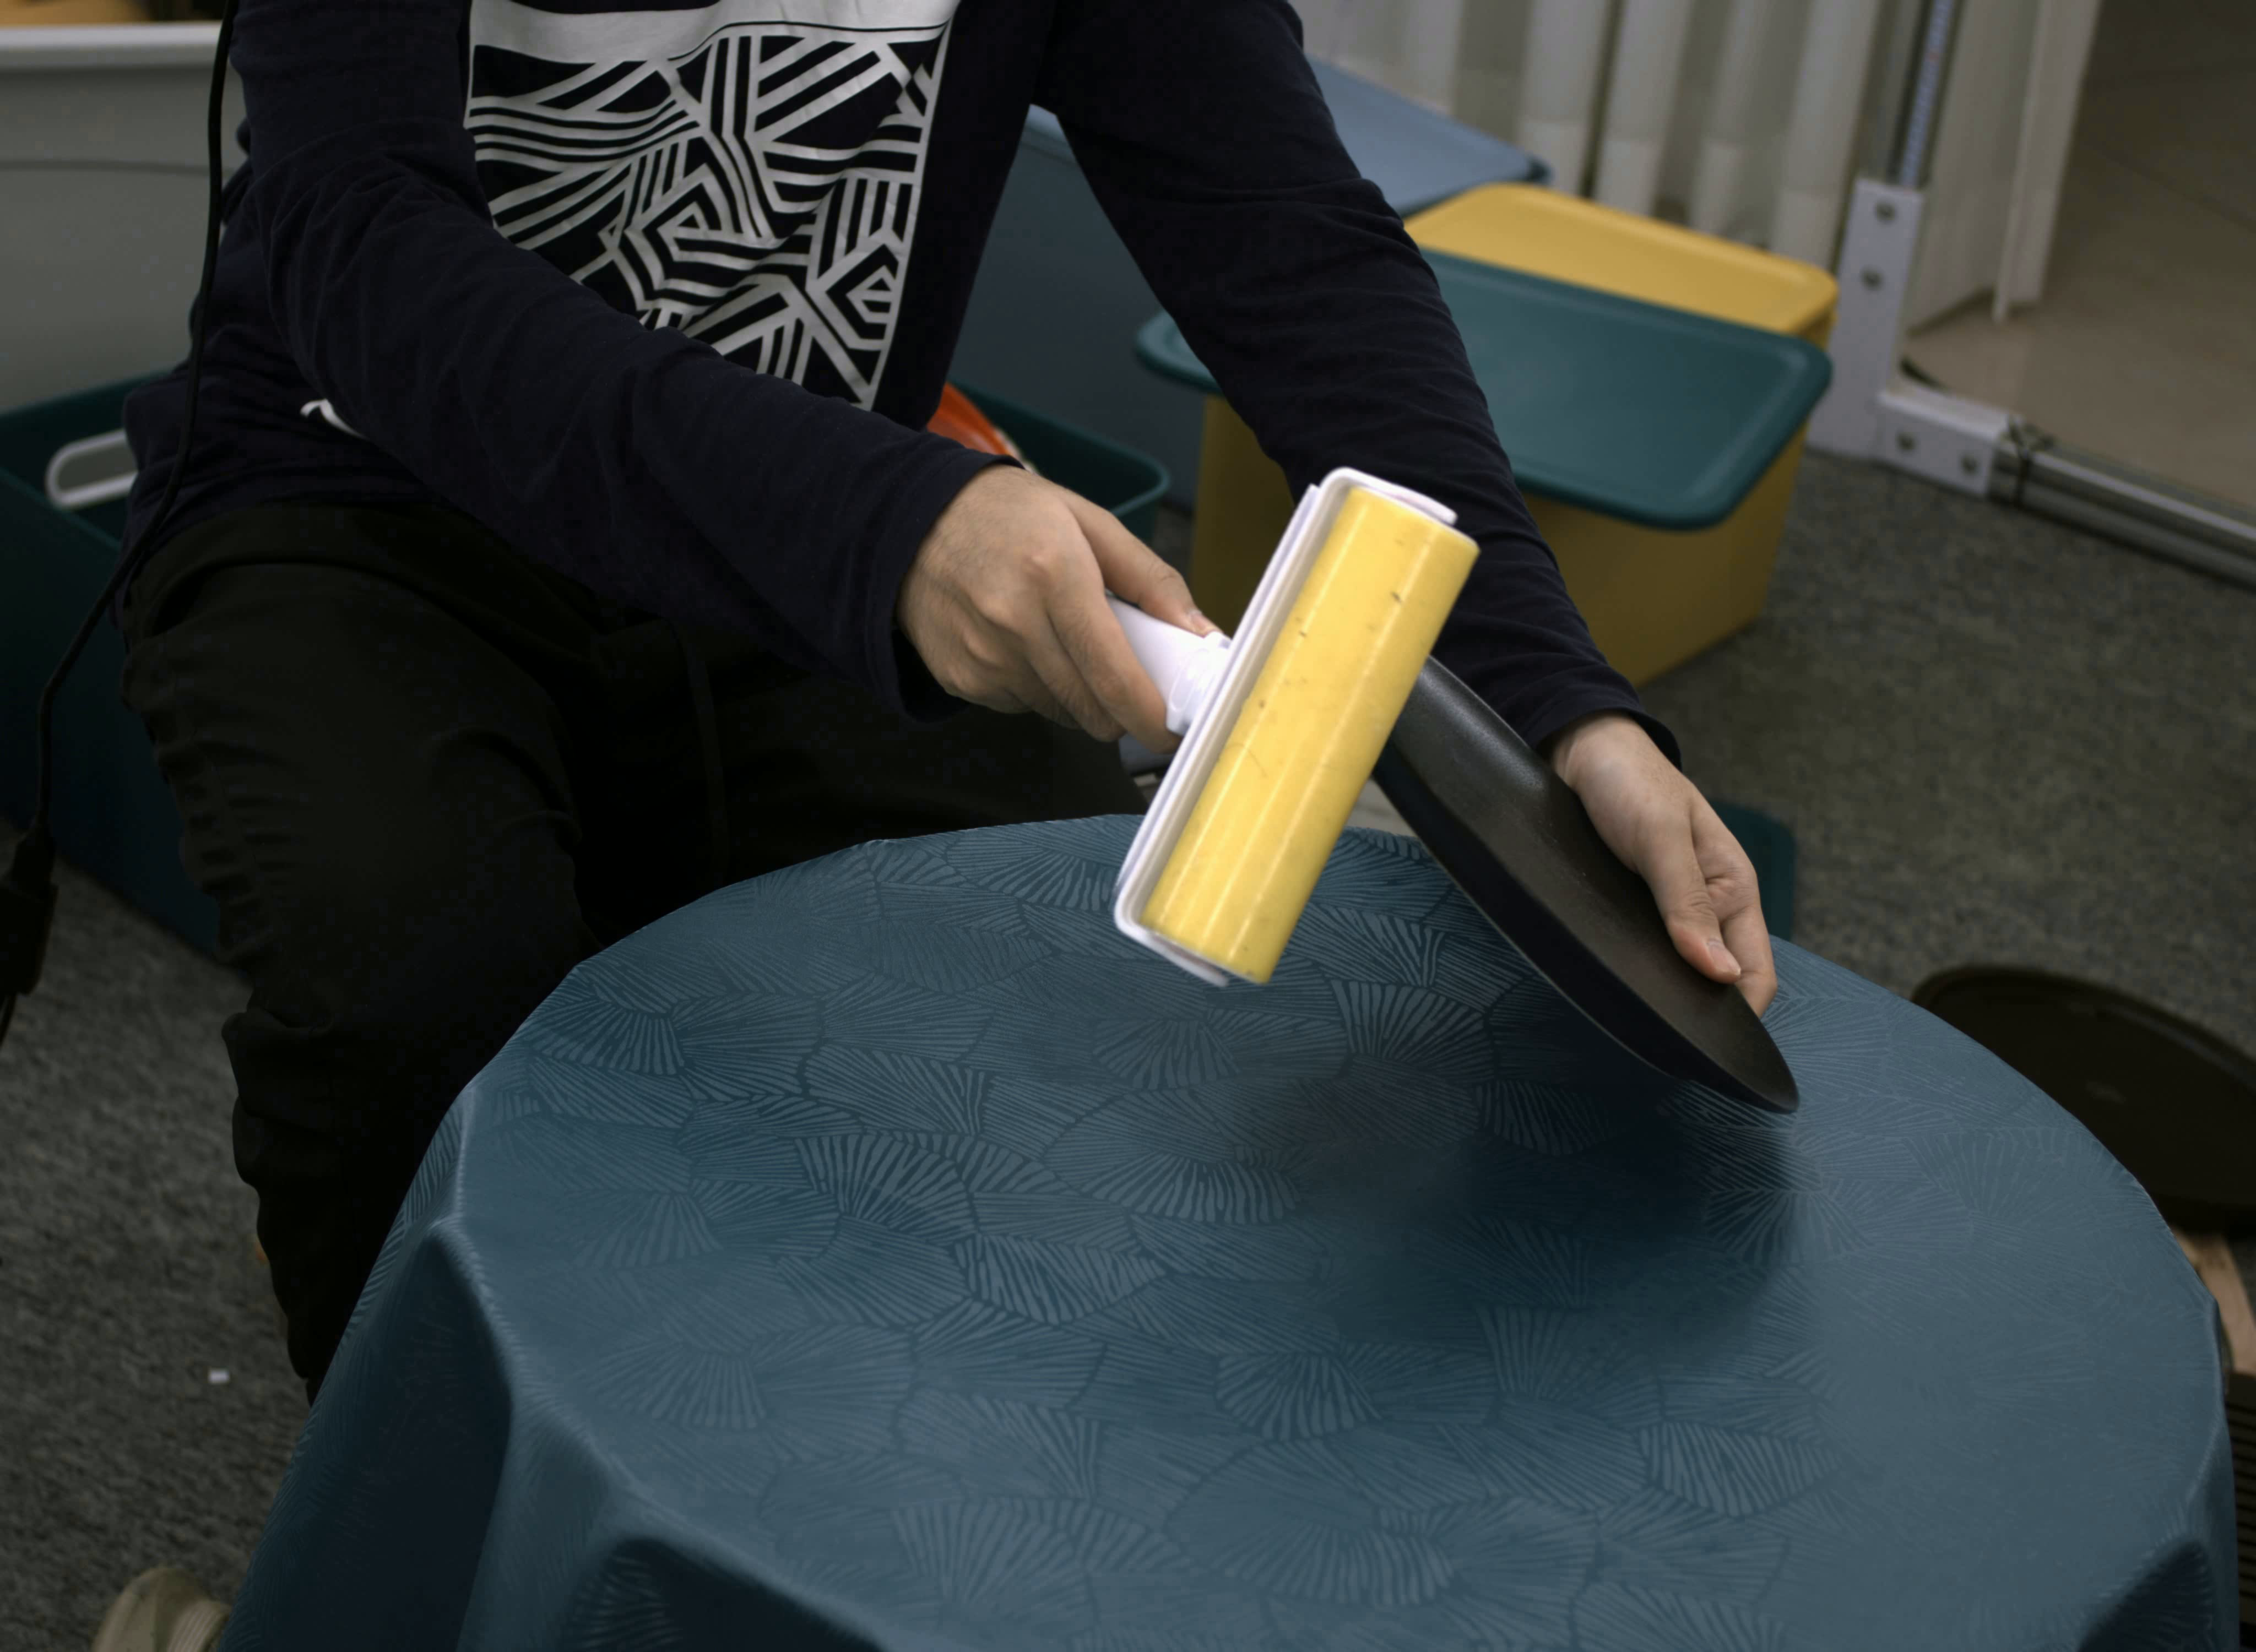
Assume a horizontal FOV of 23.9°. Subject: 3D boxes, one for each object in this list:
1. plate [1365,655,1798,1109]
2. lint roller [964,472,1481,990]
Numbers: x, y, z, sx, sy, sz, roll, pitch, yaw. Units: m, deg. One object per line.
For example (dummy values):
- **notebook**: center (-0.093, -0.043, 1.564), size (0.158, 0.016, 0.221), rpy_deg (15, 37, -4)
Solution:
- **plate**: center (0.142, 0.013, 1.850), size (0.243, 0.023, 0.245), rpy_deg (44, 12, -12)
- **lint roller**: center (0.007, -0.053, 1.787), size (0.193, 0.174, 0.051), rpy_deg (25, -3, 35)
